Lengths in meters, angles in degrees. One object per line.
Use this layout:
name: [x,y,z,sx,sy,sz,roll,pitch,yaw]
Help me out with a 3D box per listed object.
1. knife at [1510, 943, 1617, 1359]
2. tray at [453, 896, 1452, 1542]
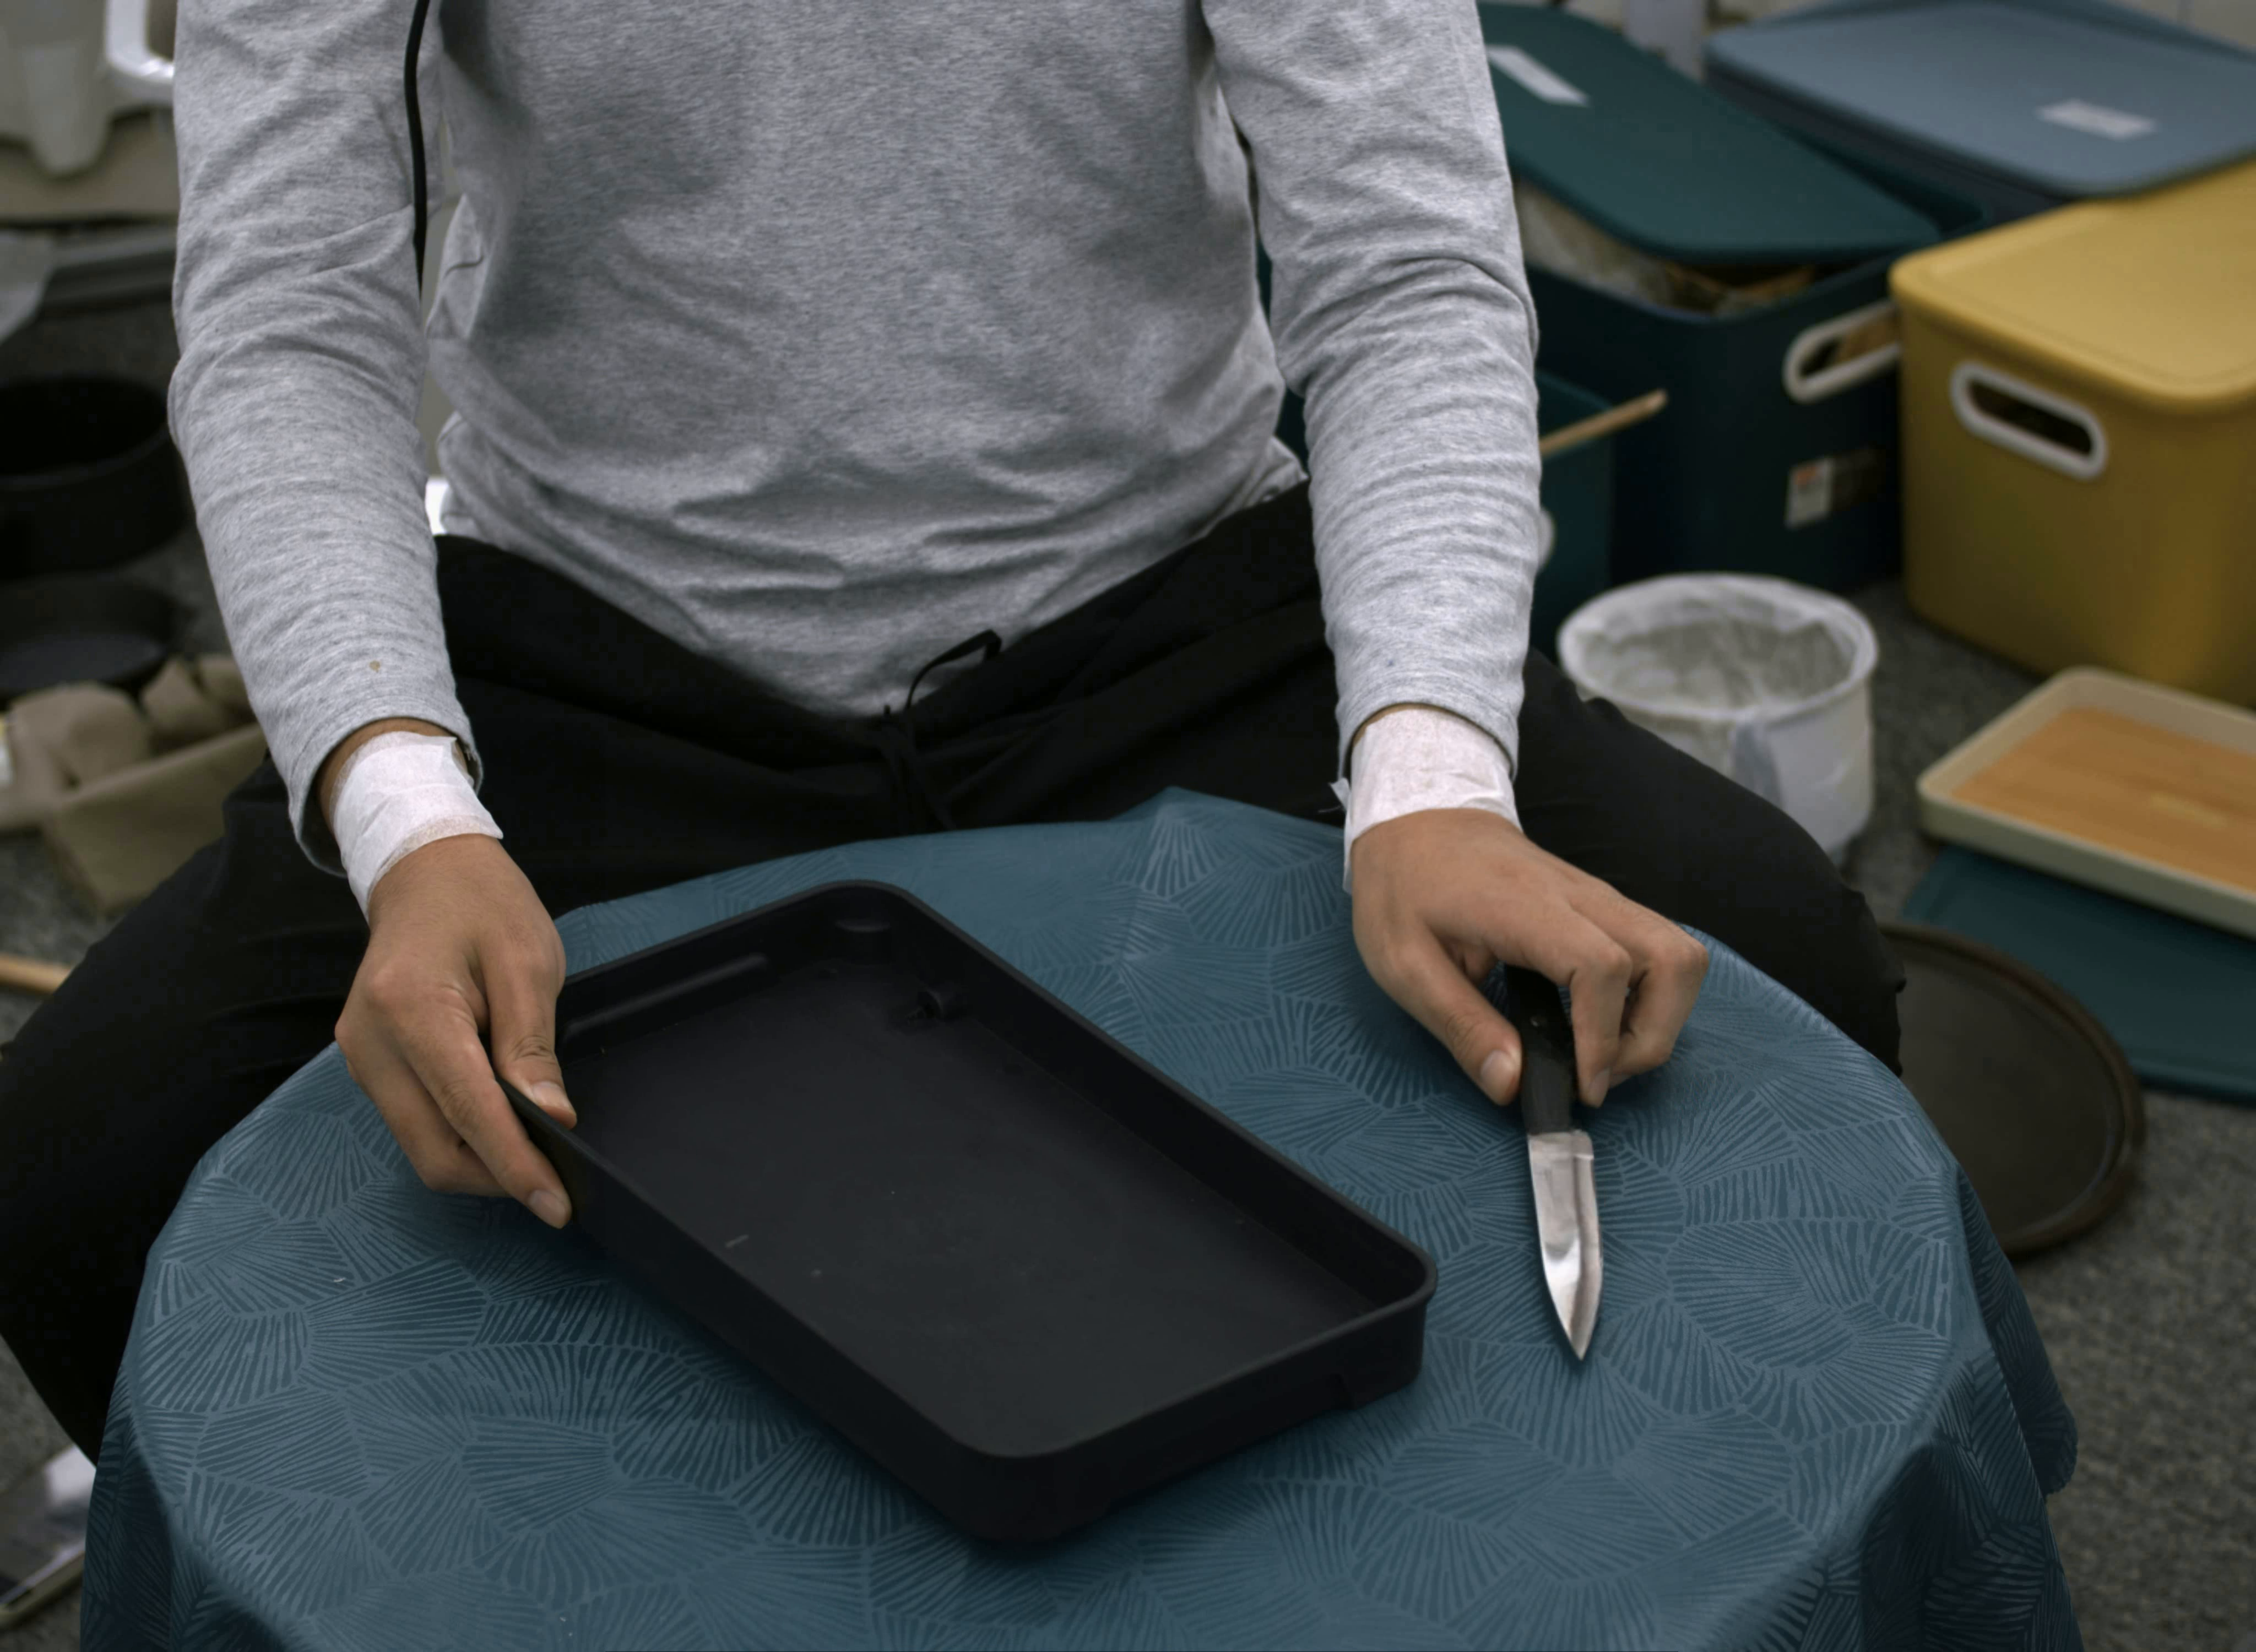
knife: [0.142,0.105,1.850,0.024,0.016,0.242,5,30,-4]
tray: [-0.061,0.119,1.803,0.186,0.036,0.318,-19,34,-35]
